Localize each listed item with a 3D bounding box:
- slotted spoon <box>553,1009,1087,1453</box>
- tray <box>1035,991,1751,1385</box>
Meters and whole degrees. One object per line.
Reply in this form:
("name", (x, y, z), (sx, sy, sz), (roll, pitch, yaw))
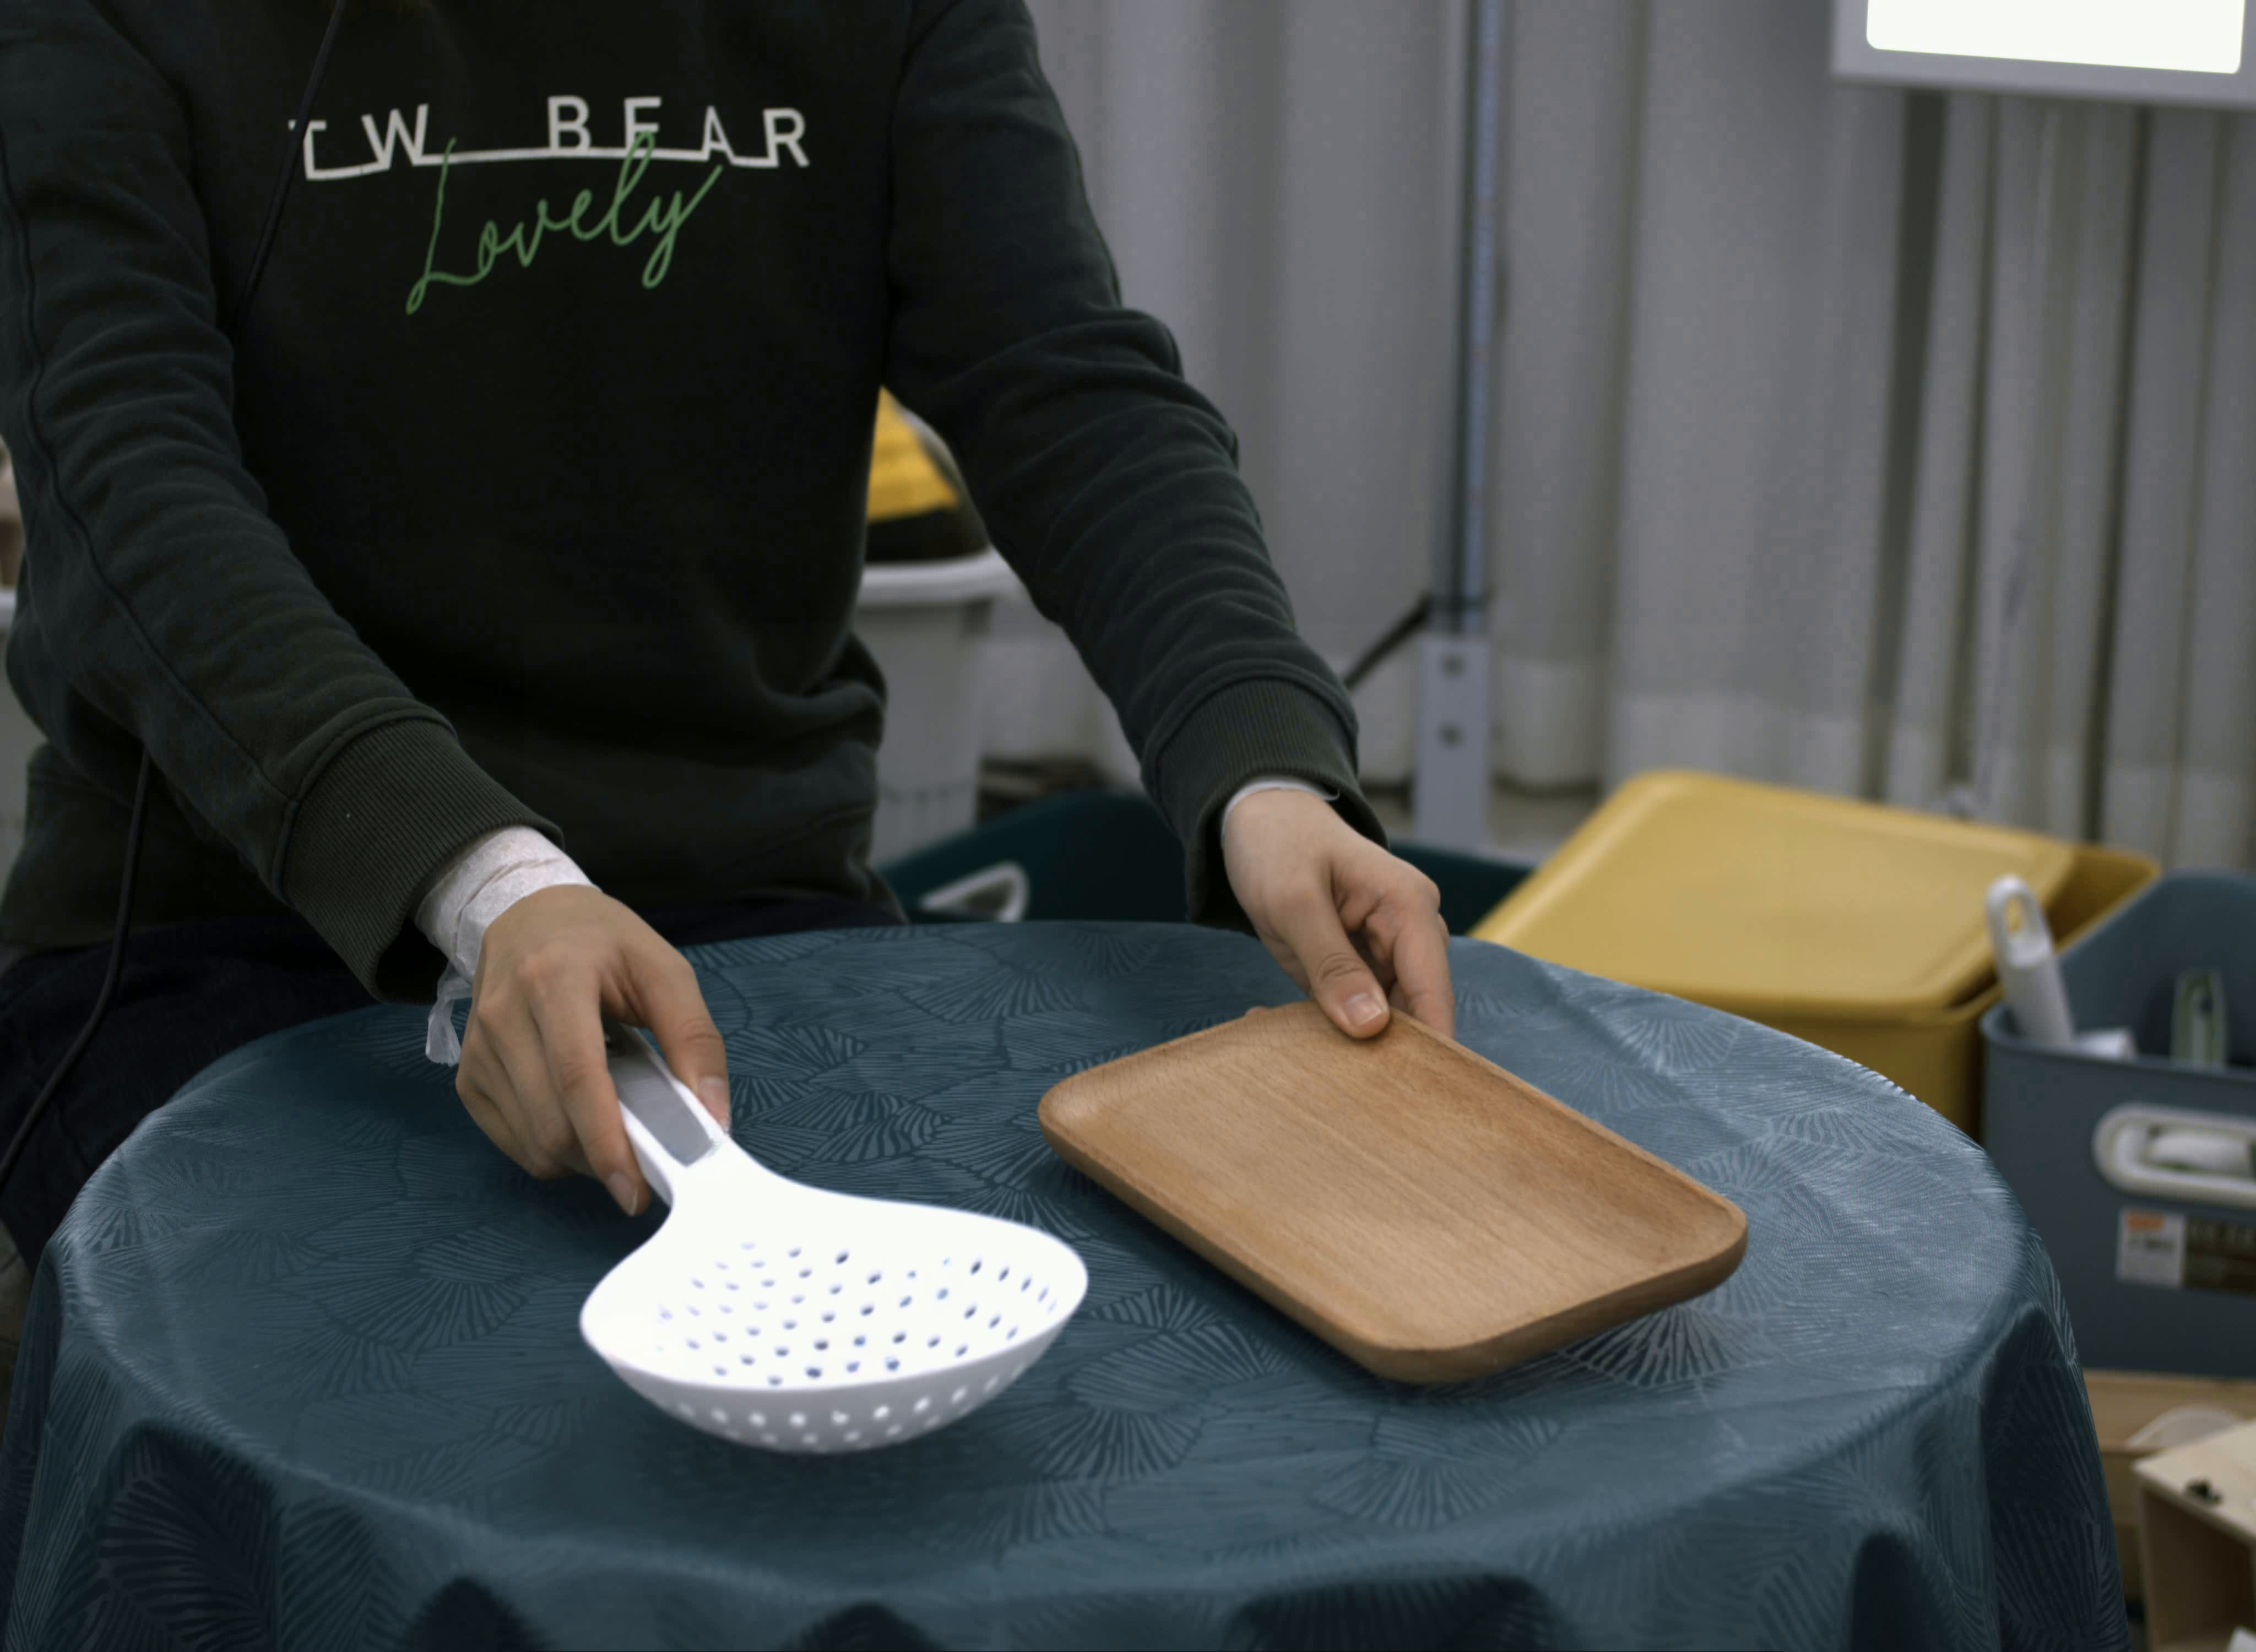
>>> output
("slotted spoon", (-0.114, 0.107, 1.506), (0.136, 0.046, 0.345), (-8, 21, -18))
("tray", (0.075, 0.105, 1.574), (0.131, 0.023, 0.247), (-15, 21, -24))
